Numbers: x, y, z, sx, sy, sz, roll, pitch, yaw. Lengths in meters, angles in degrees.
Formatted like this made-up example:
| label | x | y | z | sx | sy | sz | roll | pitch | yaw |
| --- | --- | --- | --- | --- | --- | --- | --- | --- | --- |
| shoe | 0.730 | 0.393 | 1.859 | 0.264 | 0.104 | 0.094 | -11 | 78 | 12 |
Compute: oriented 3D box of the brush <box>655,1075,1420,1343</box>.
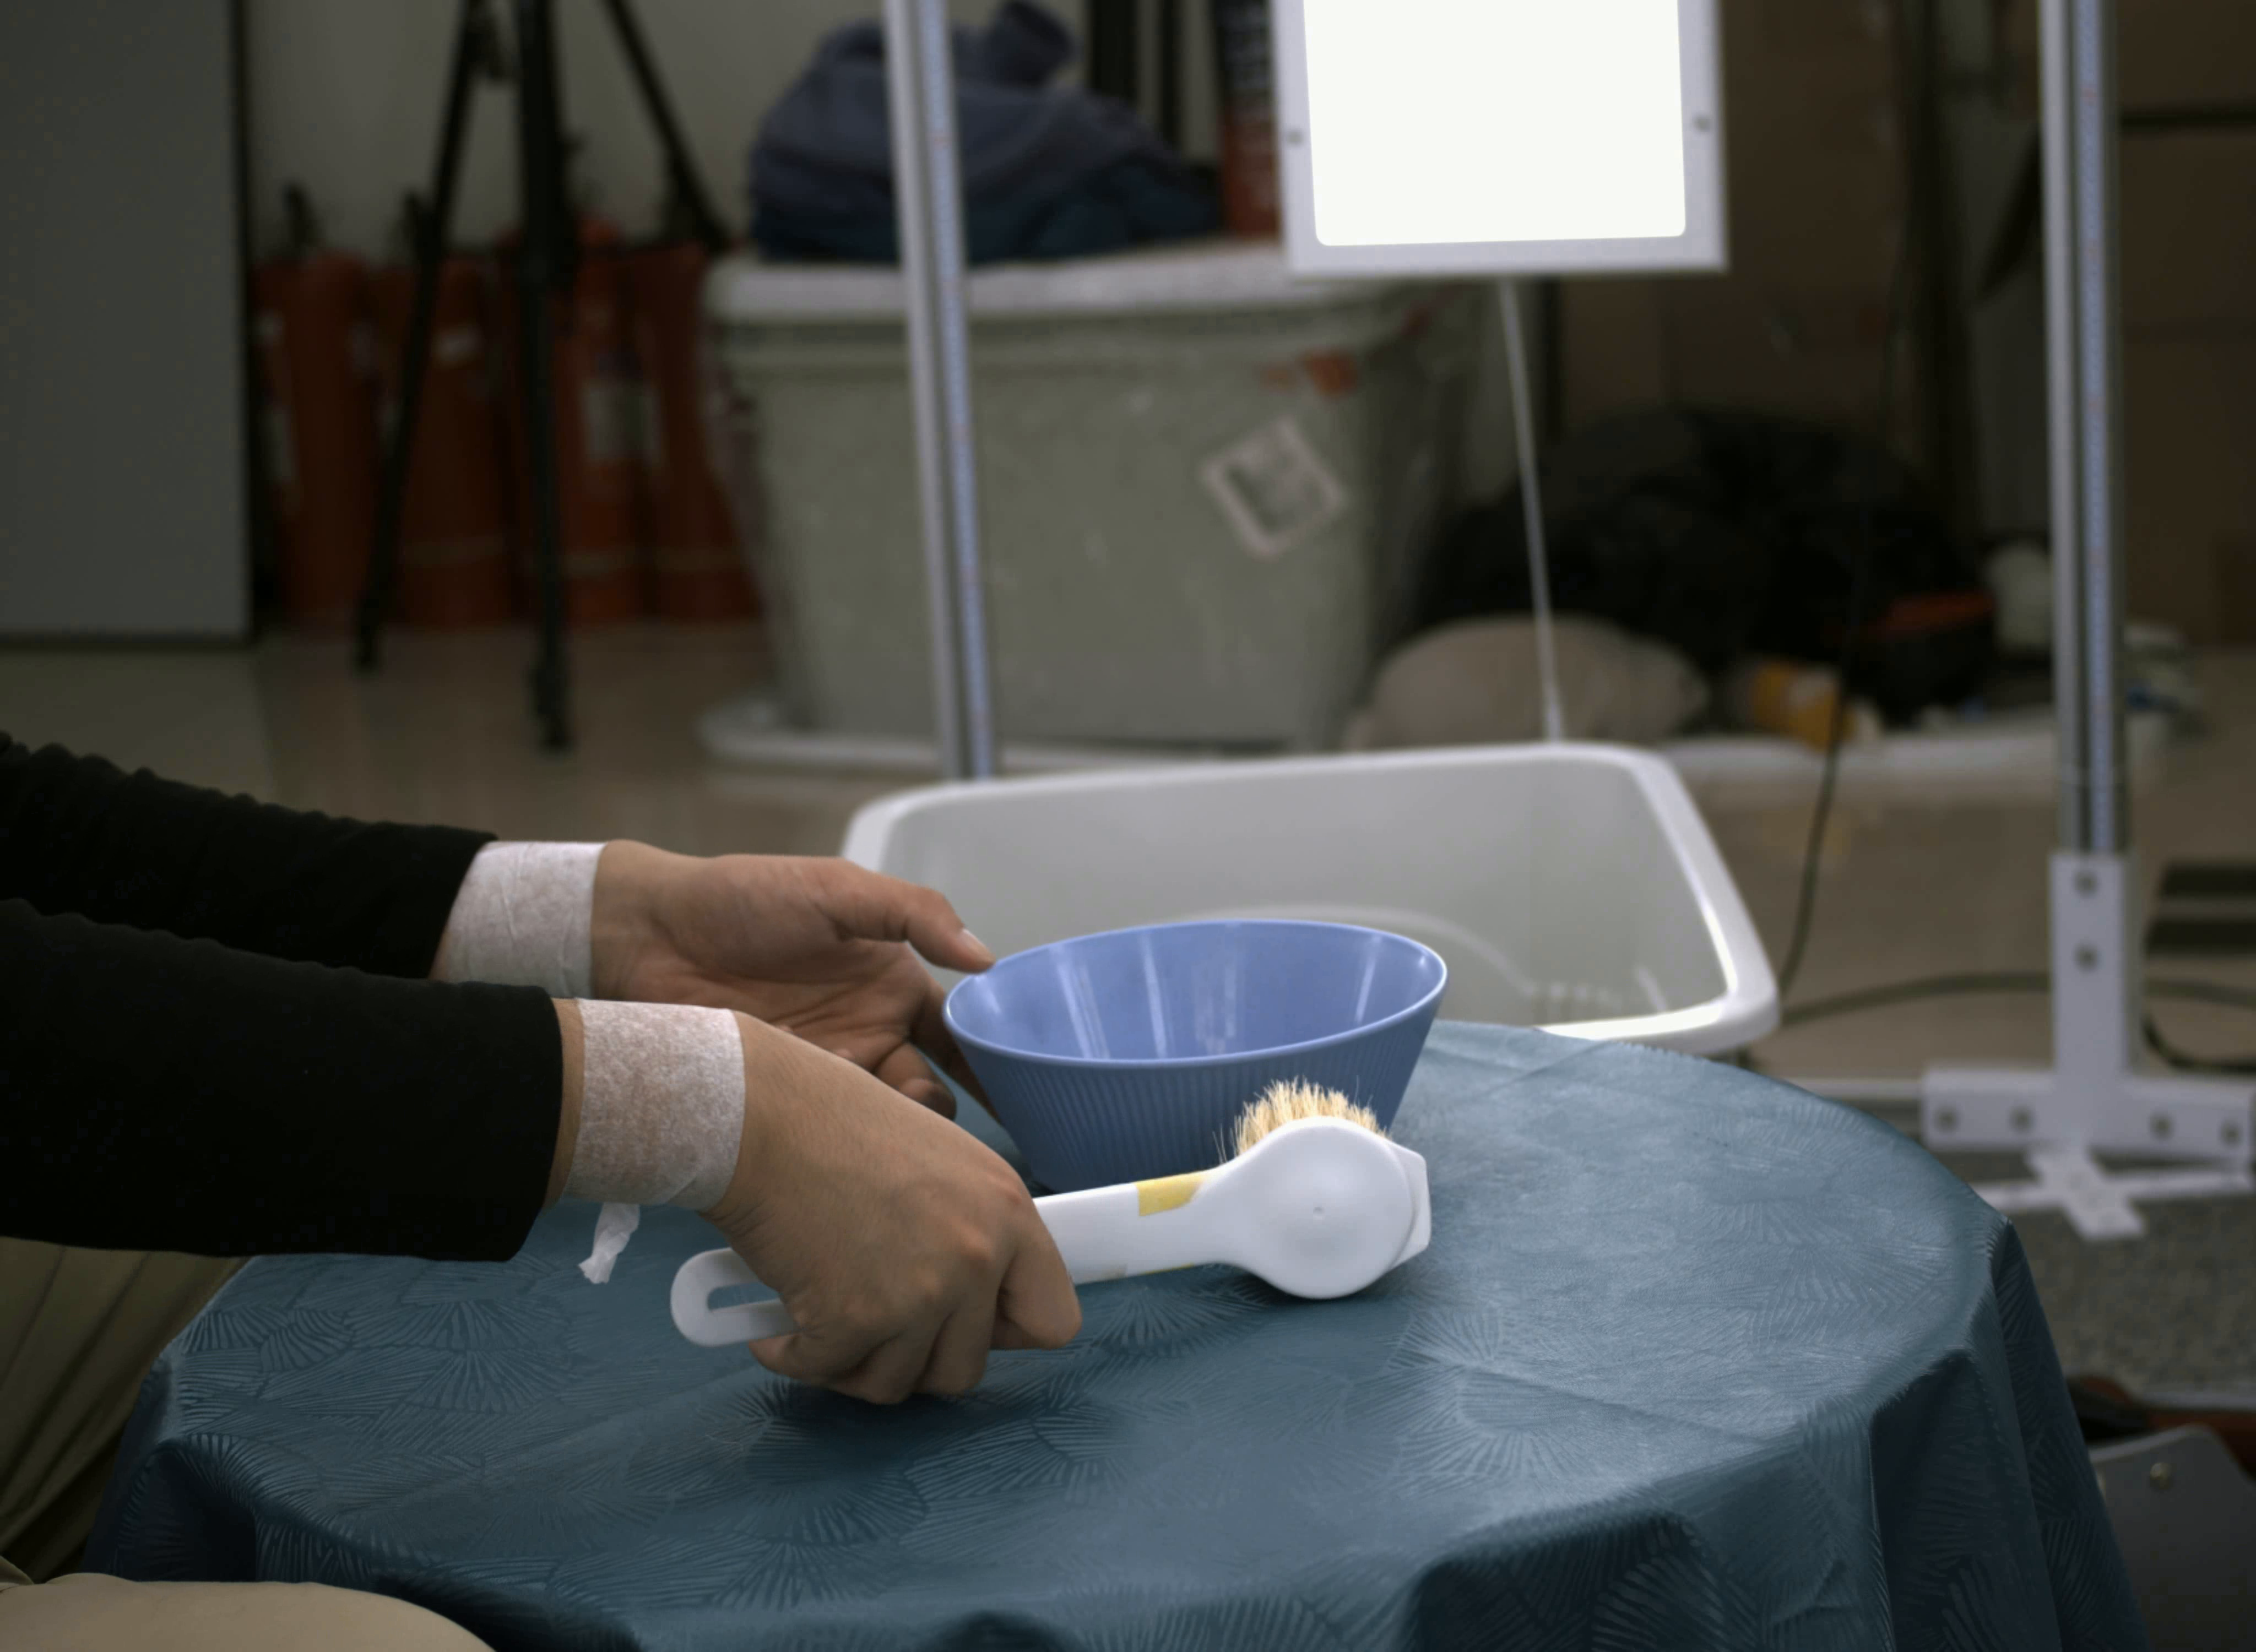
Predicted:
| label | x | y | z | sx | sy | sz | roll | pitch | yaw |
| --- | --- | --- | --- | --- | --- | --- | --- | --- | --- |
| brush | -0.031 | 0.127 | 1.744 | 0.261 | 0.069 | 0.057 | -8 | 2 | -20 |

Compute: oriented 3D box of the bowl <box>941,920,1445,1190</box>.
| label | x | y | z | sx | sy | sz | roll | pitch | yaw |
| --- | --- | --- | --- | --- | --- | --- | --- | --- | --- |
| bowl | 0.025 | 0.086 | 1.902 | 0.175 | 0.070 | 0.176 | -6 | 13 | 0 |
